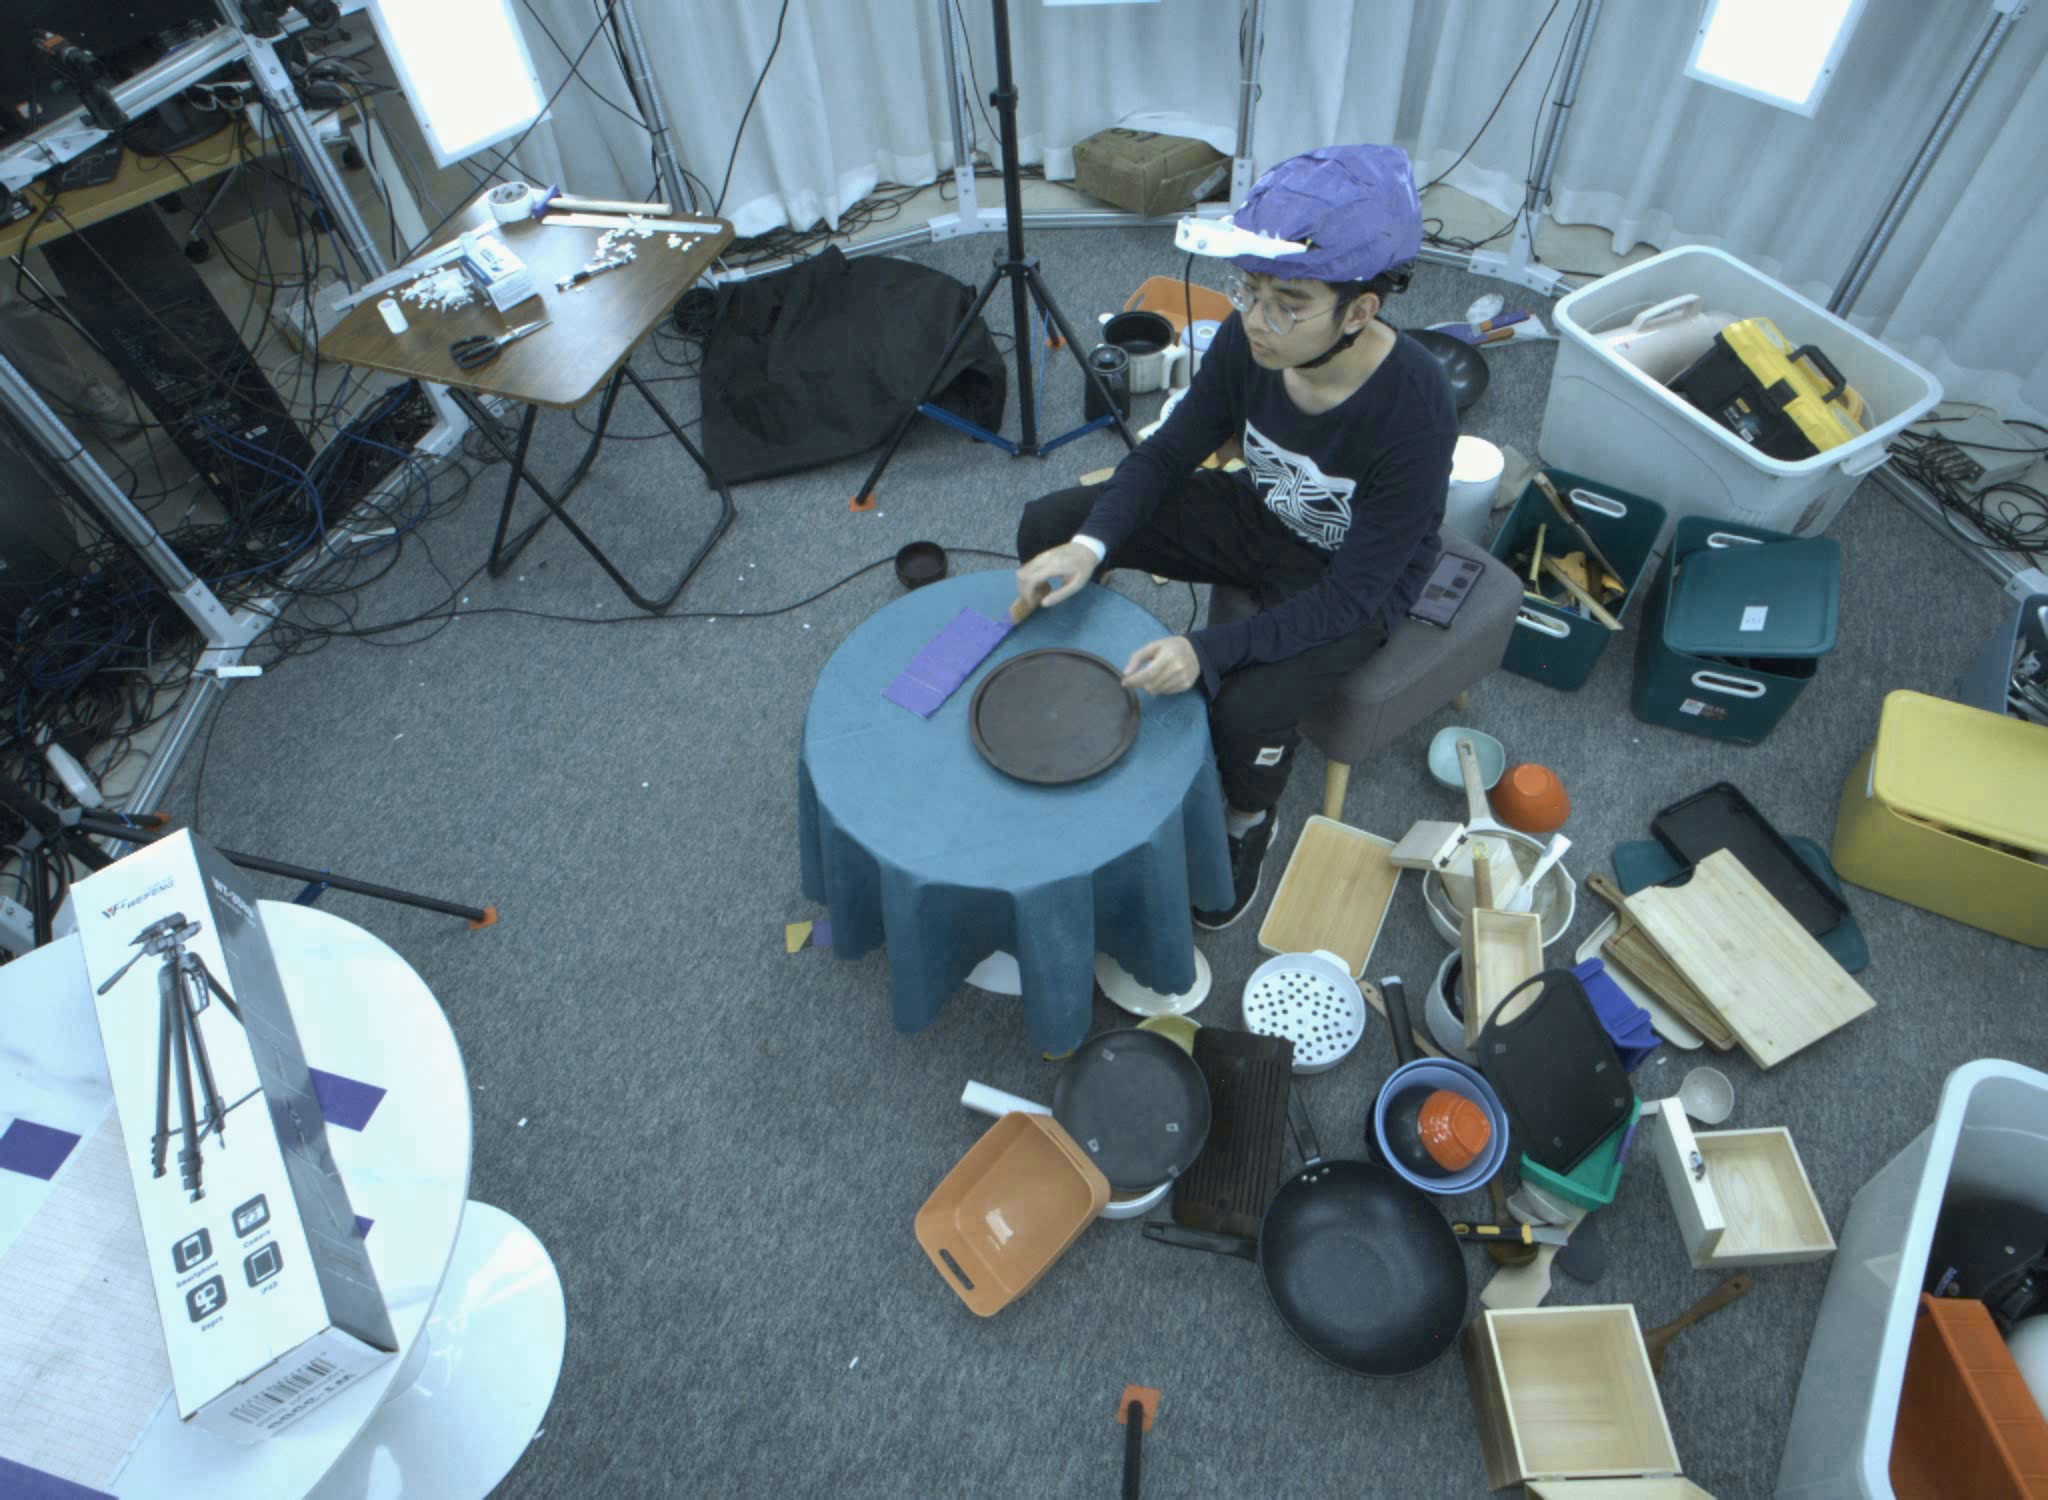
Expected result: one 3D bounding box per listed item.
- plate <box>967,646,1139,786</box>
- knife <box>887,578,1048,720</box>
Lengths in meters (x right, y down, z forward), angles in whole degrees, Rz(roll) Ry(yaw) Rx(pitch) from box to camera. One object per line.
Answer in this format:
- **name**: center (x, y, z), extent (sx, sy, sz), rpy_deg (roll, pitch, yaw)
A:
- **plate**: center (0.042, -0.051, 1.816), extent (0.254, 0.029, 0.252), rpy_deg (0, 55, 2)
- **knife**: center (-0.088, -0.173, 1.905), extent (0.102, 0.032, 0.317), rpy_deg (30, 61, 21)
